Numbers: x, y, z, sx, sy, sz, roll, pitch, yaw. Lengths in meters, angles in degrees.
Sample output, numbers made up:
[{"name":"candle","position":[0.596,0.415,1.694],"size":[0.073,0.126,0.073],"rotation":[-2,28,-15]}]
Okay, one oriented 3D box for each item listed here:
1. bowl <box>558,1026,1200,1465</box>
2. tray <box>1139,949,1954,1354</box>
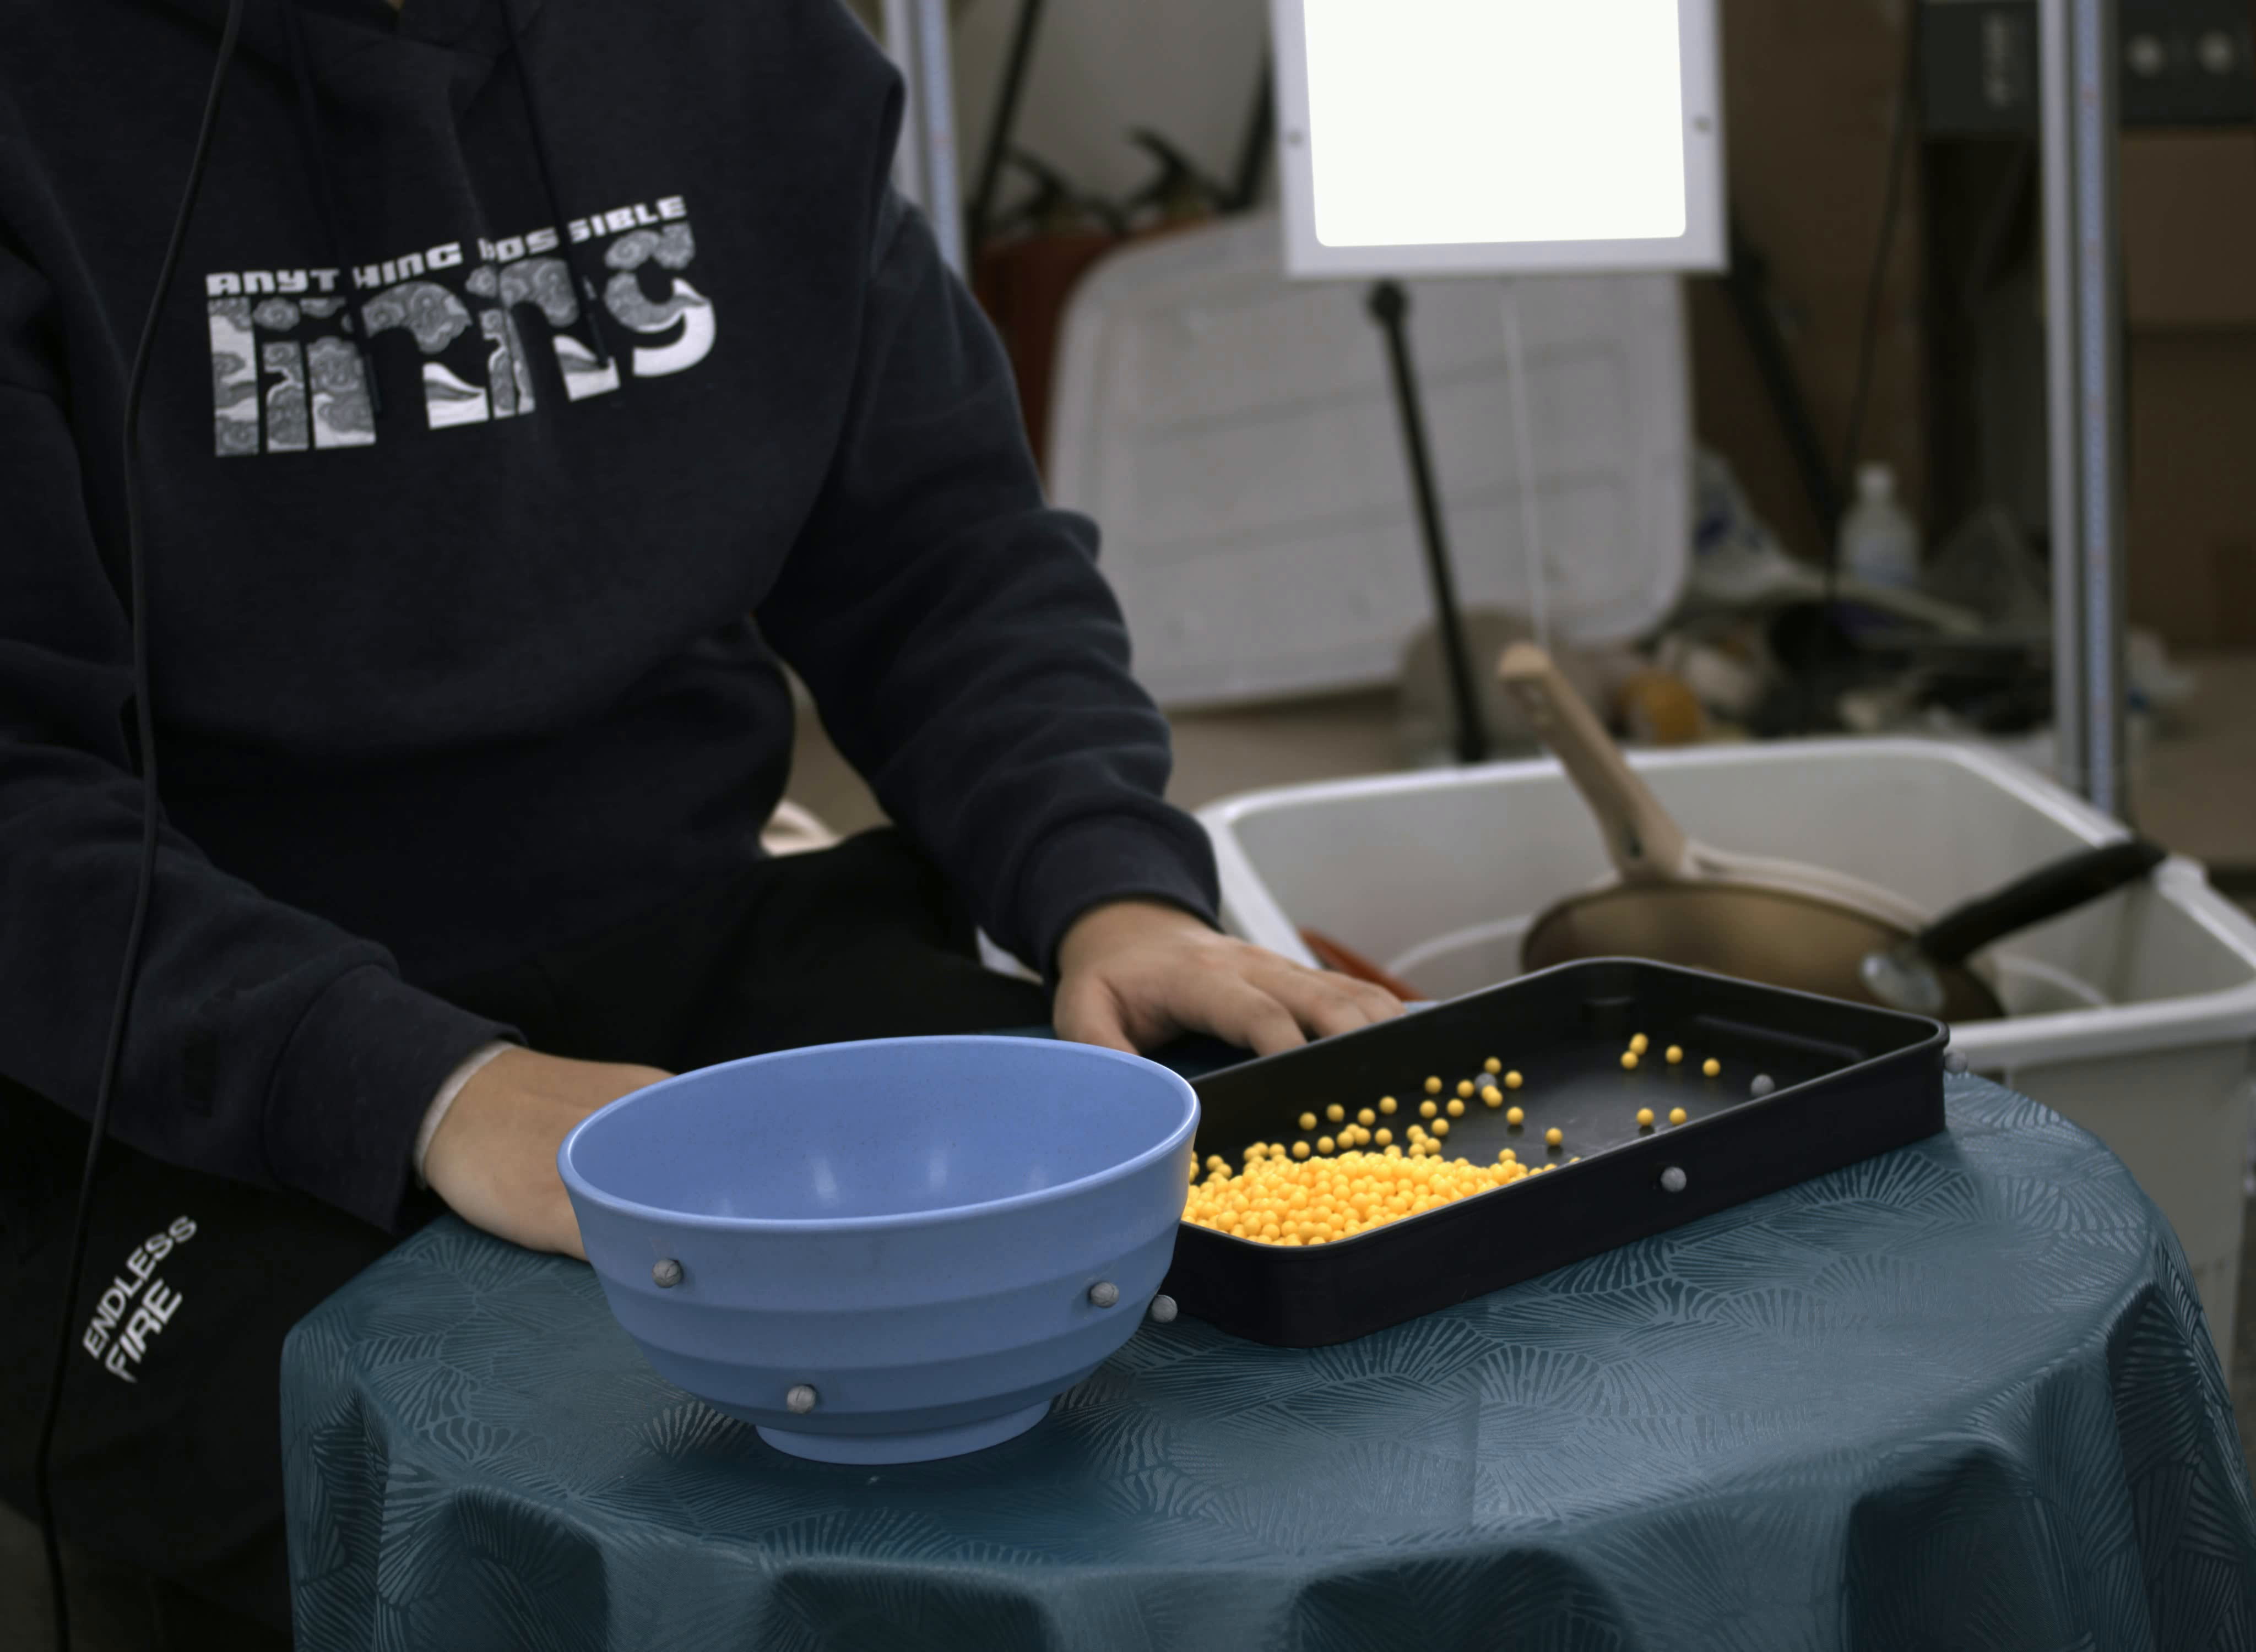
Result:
[{"name":"bowl","position":[-0.072,0.134,1.685],"size":[0.196,0.096,0.196],"rotation":[-5,15,0]},{"name":"tray","position":[0.121,0.105,1.873],"size":[0.310,0.037,0.188],"rotation":[-17,17,-37]}]
